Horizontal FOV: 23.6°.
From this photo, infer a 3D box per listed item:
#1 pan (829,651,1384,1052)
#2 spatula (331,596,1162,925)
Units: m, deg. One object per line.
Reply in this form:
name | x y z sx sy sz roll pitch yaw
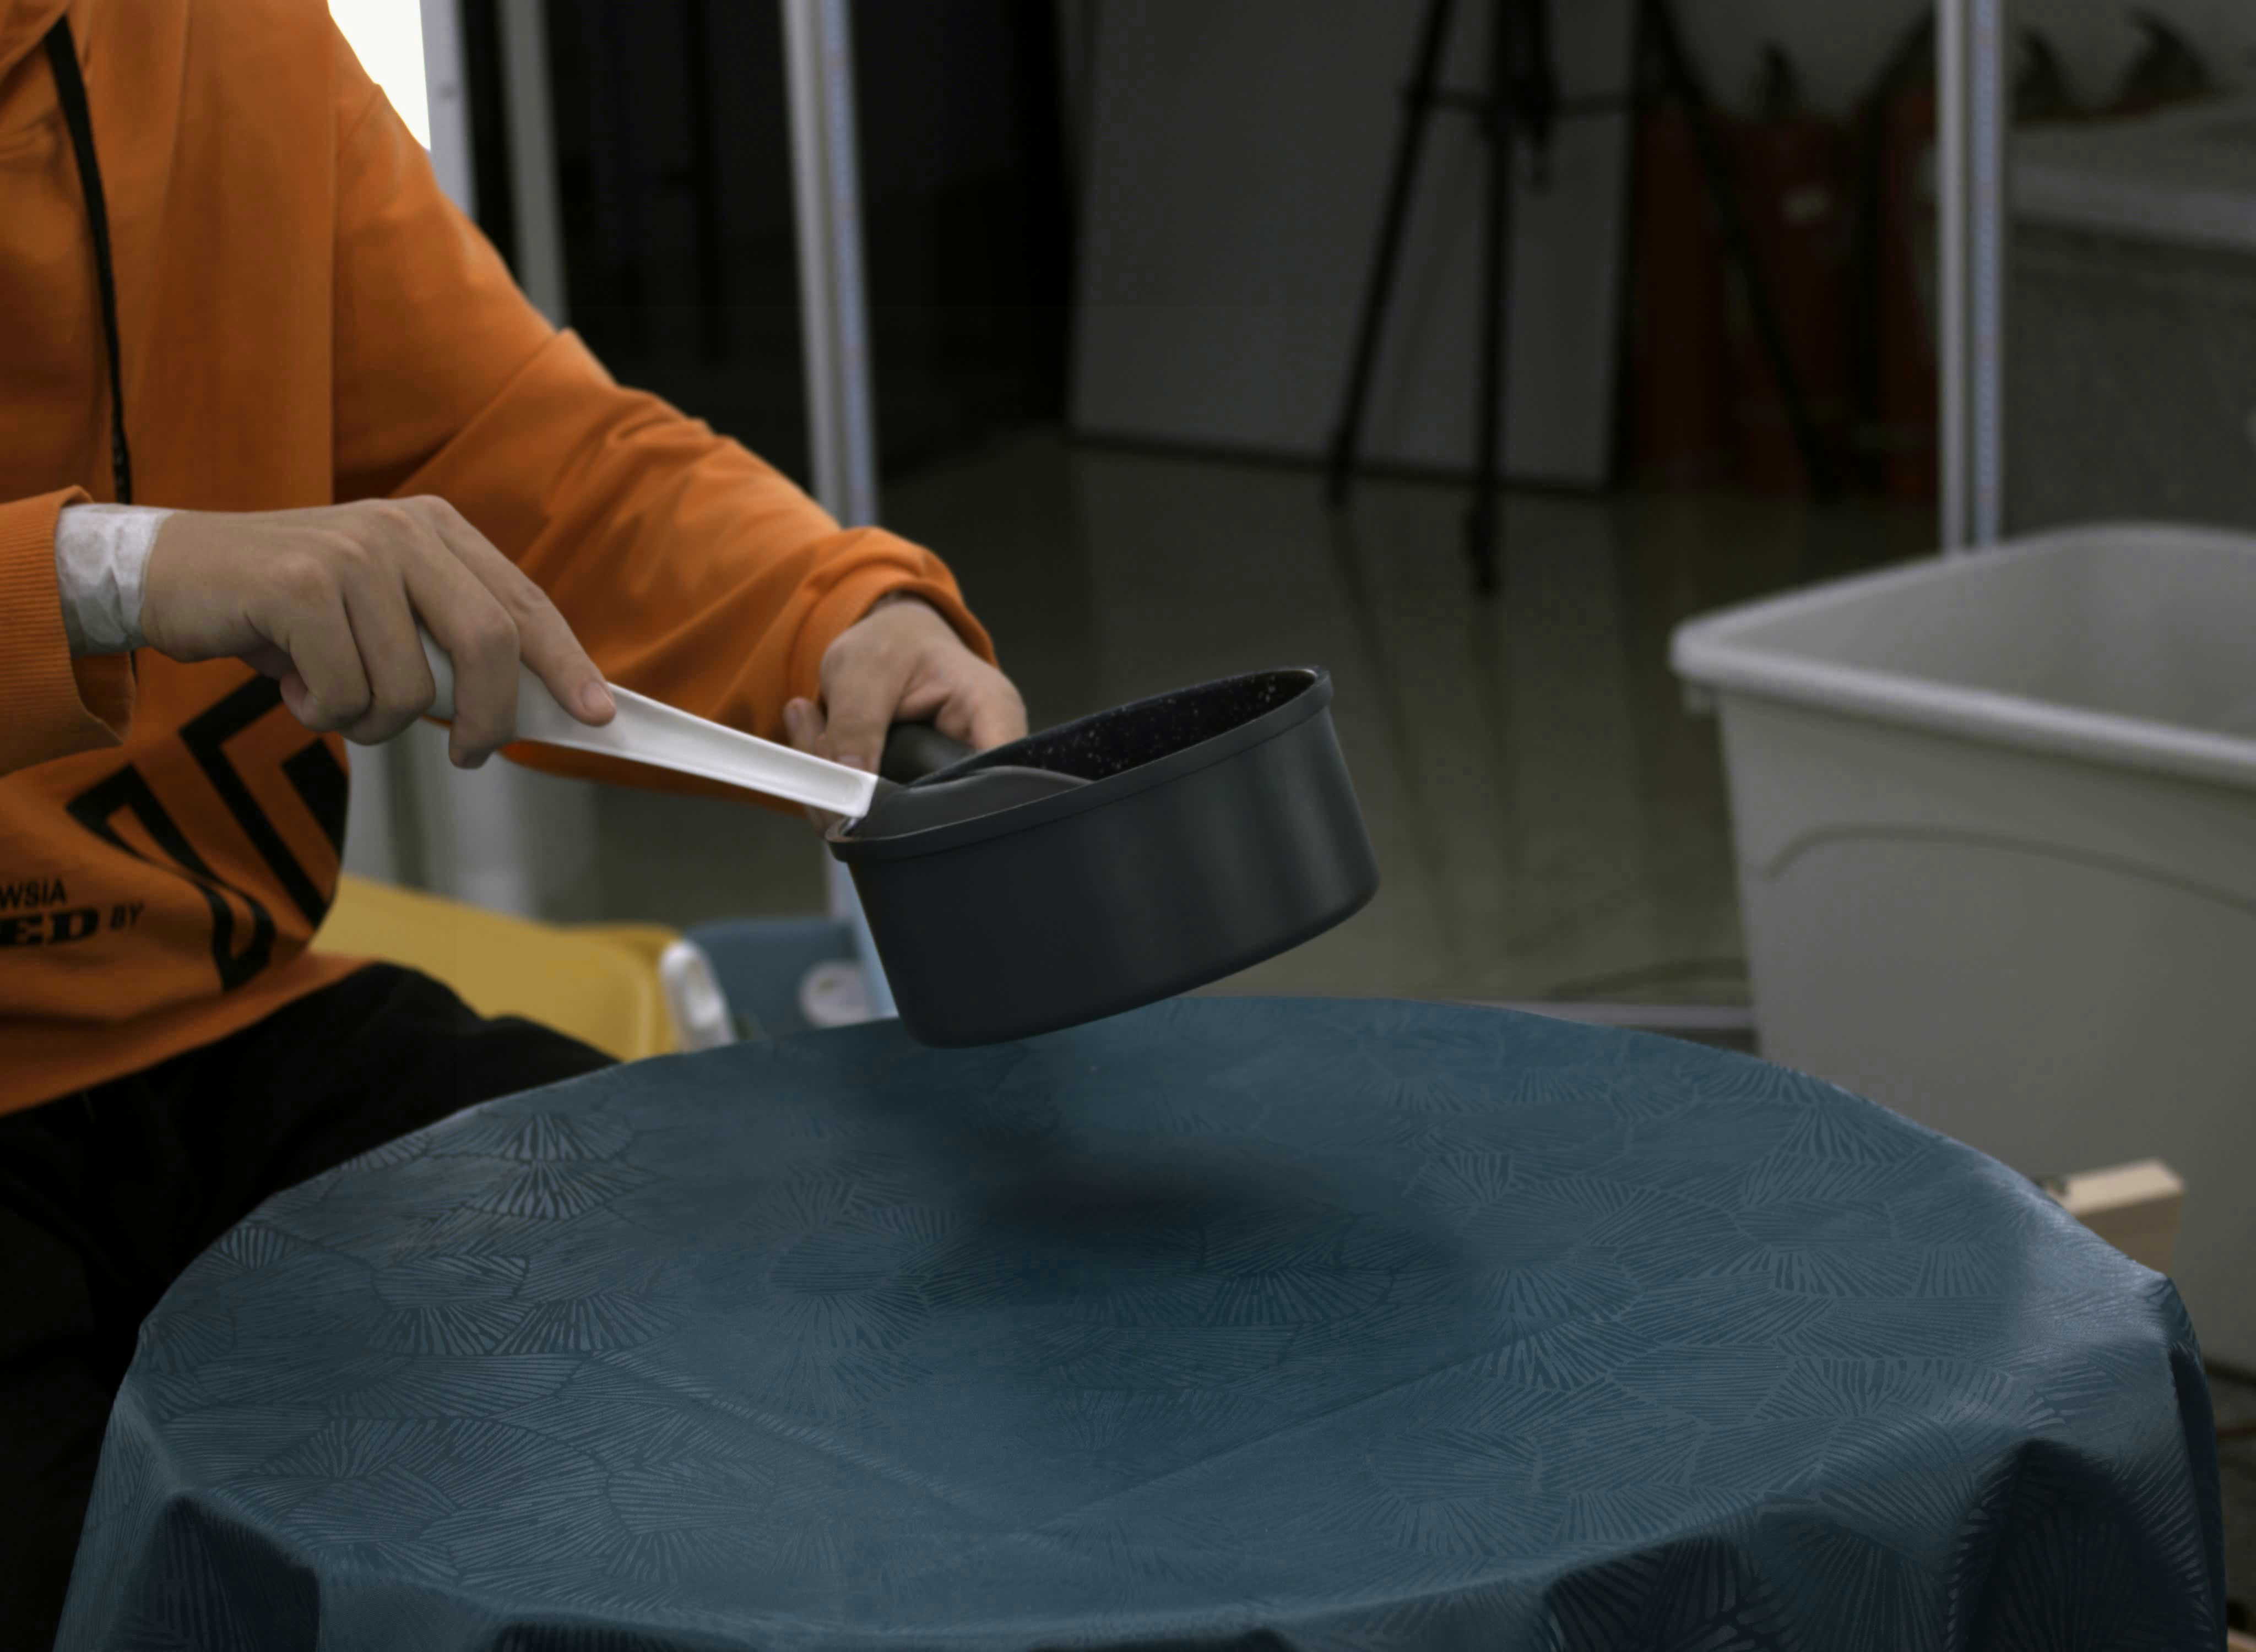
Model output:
pan | -0.030 0.004 1.807 0.169 0.087 0.331 -20 9 -15
spatula | -0.114 -0.023 1.738 0.284 0.059 0.032 14 -6 1
